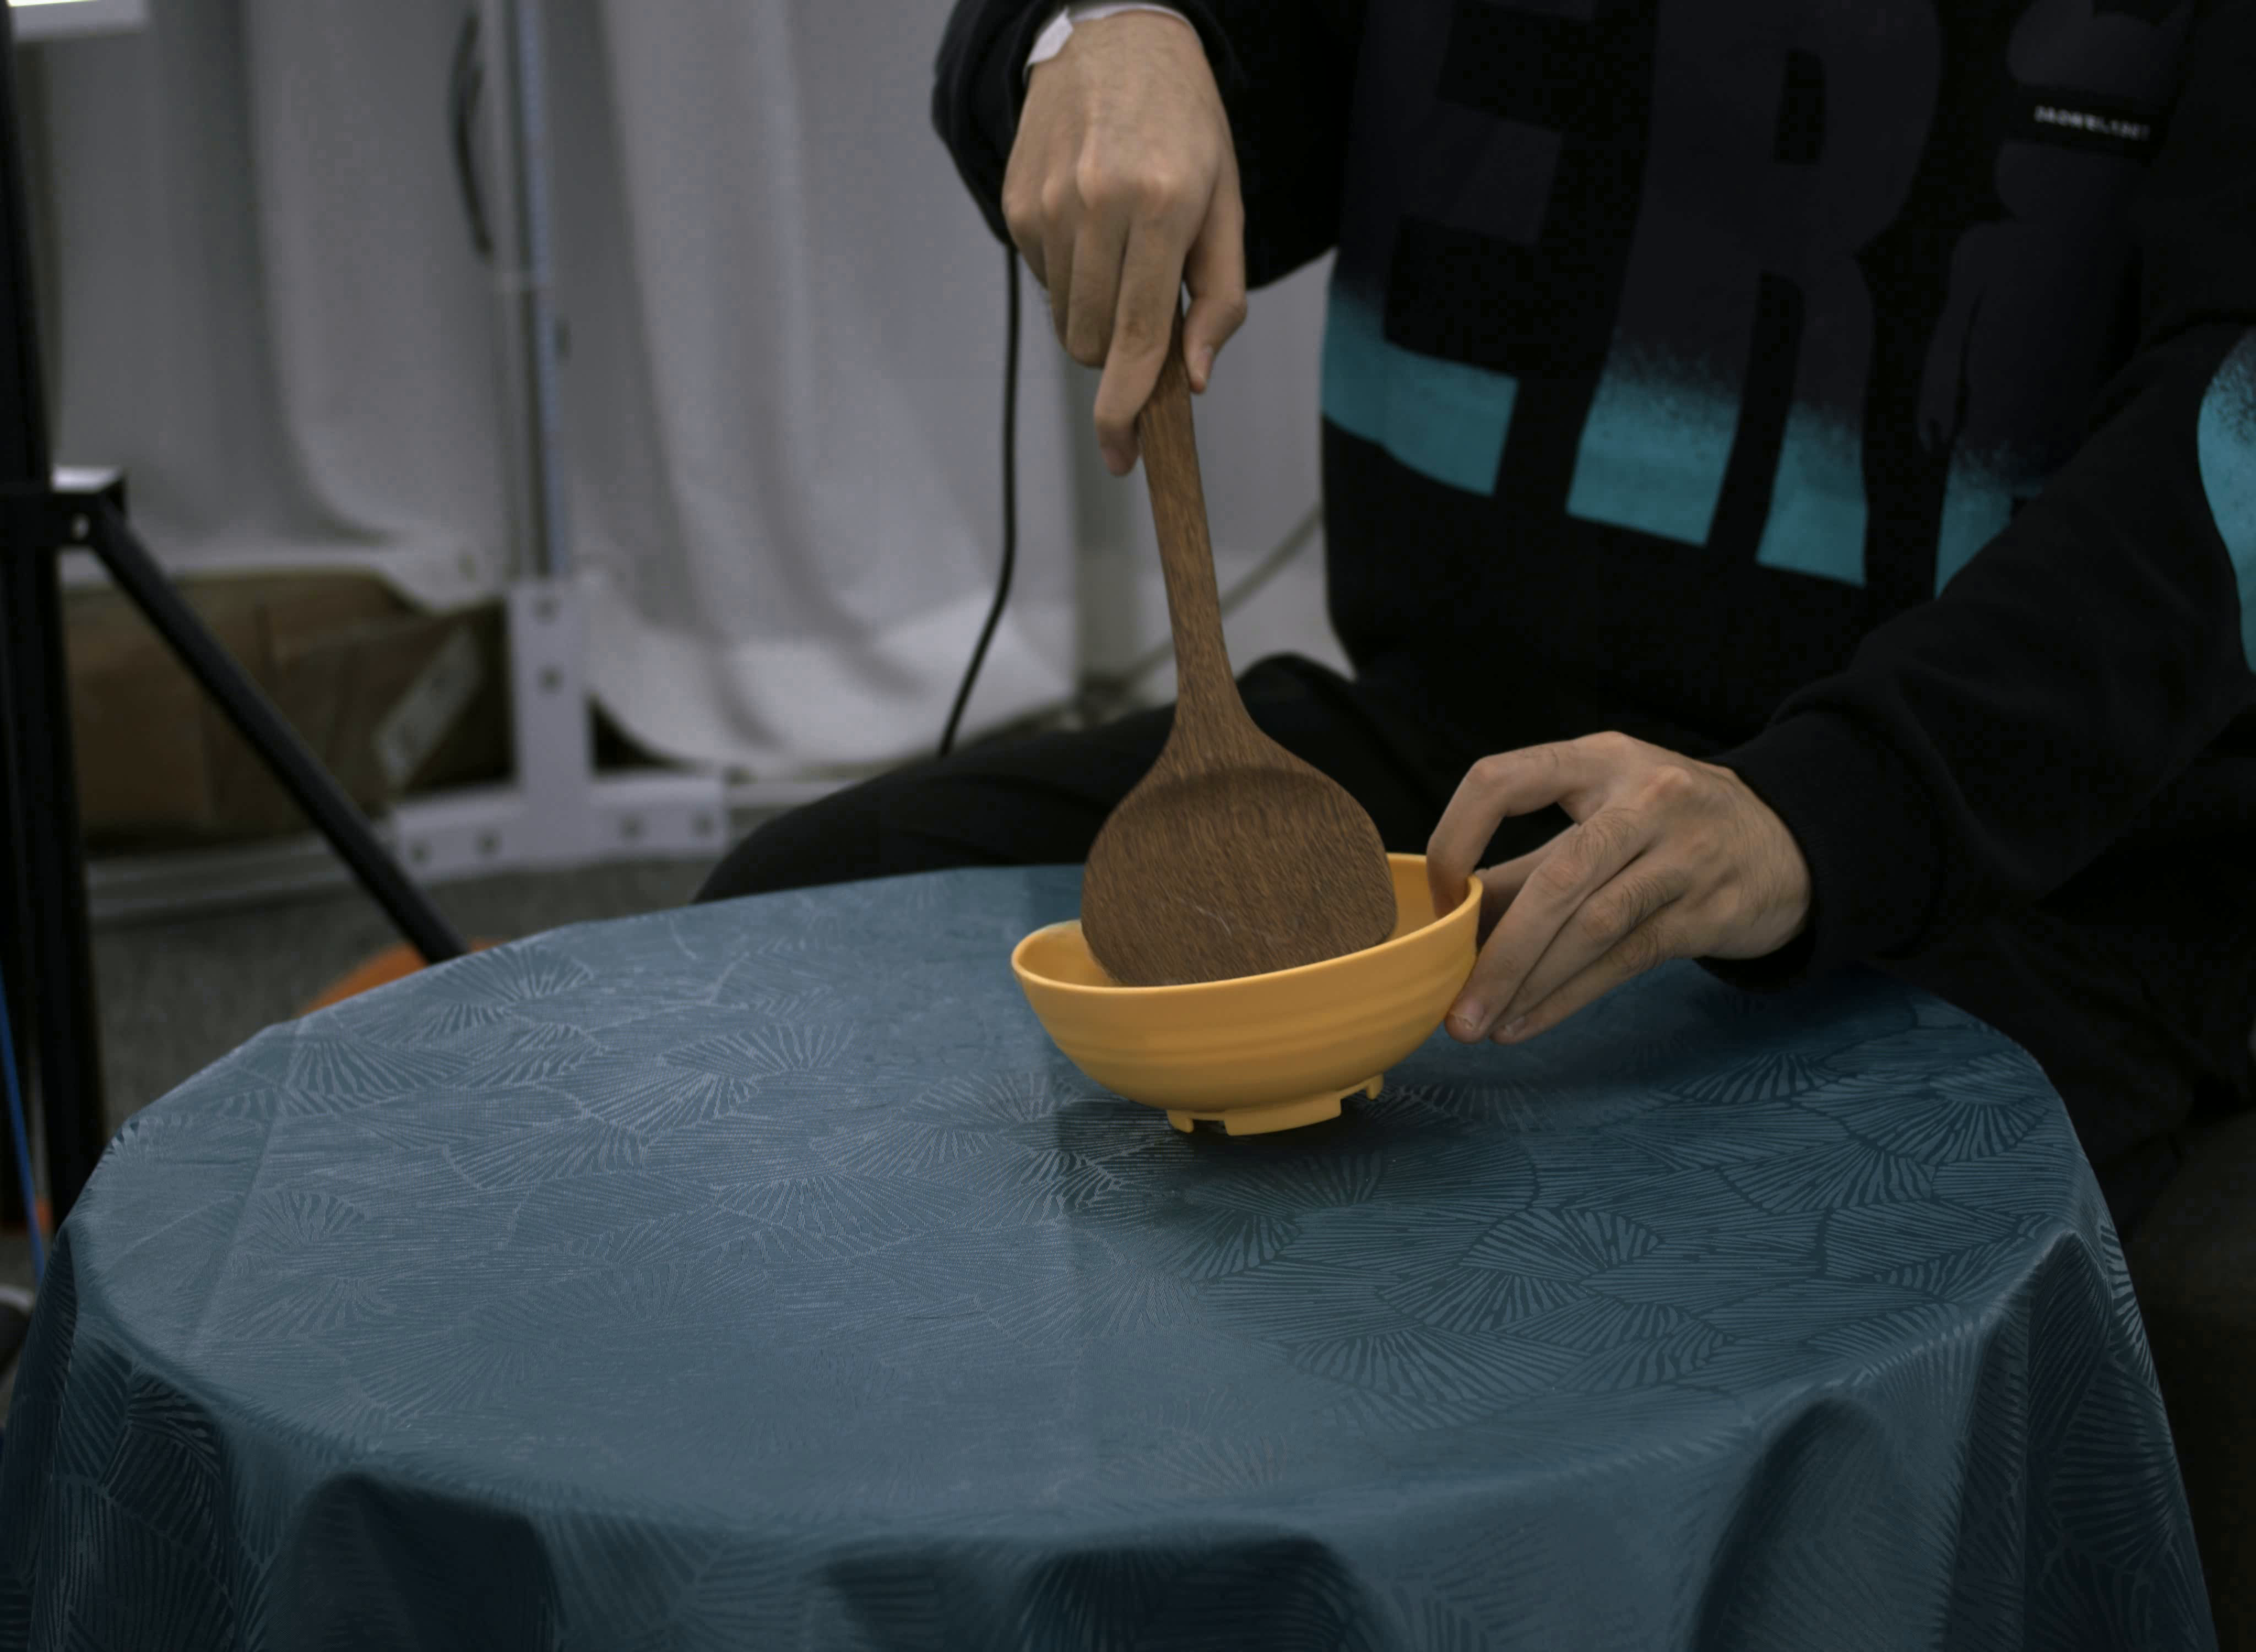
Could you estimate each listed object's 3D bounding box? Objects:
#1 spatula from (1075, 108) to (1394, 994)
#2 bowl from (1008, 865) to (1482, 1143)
[{"bbox_3d":[0.016,-0.097,1.685,0.096,0.015,0.391,-11,50,4],"label":"spatula"},{"bbox_3d":[0.038,0.059,1.609,0.144,0.060,0.146,-7,13,0],"label":"bowl"}]
